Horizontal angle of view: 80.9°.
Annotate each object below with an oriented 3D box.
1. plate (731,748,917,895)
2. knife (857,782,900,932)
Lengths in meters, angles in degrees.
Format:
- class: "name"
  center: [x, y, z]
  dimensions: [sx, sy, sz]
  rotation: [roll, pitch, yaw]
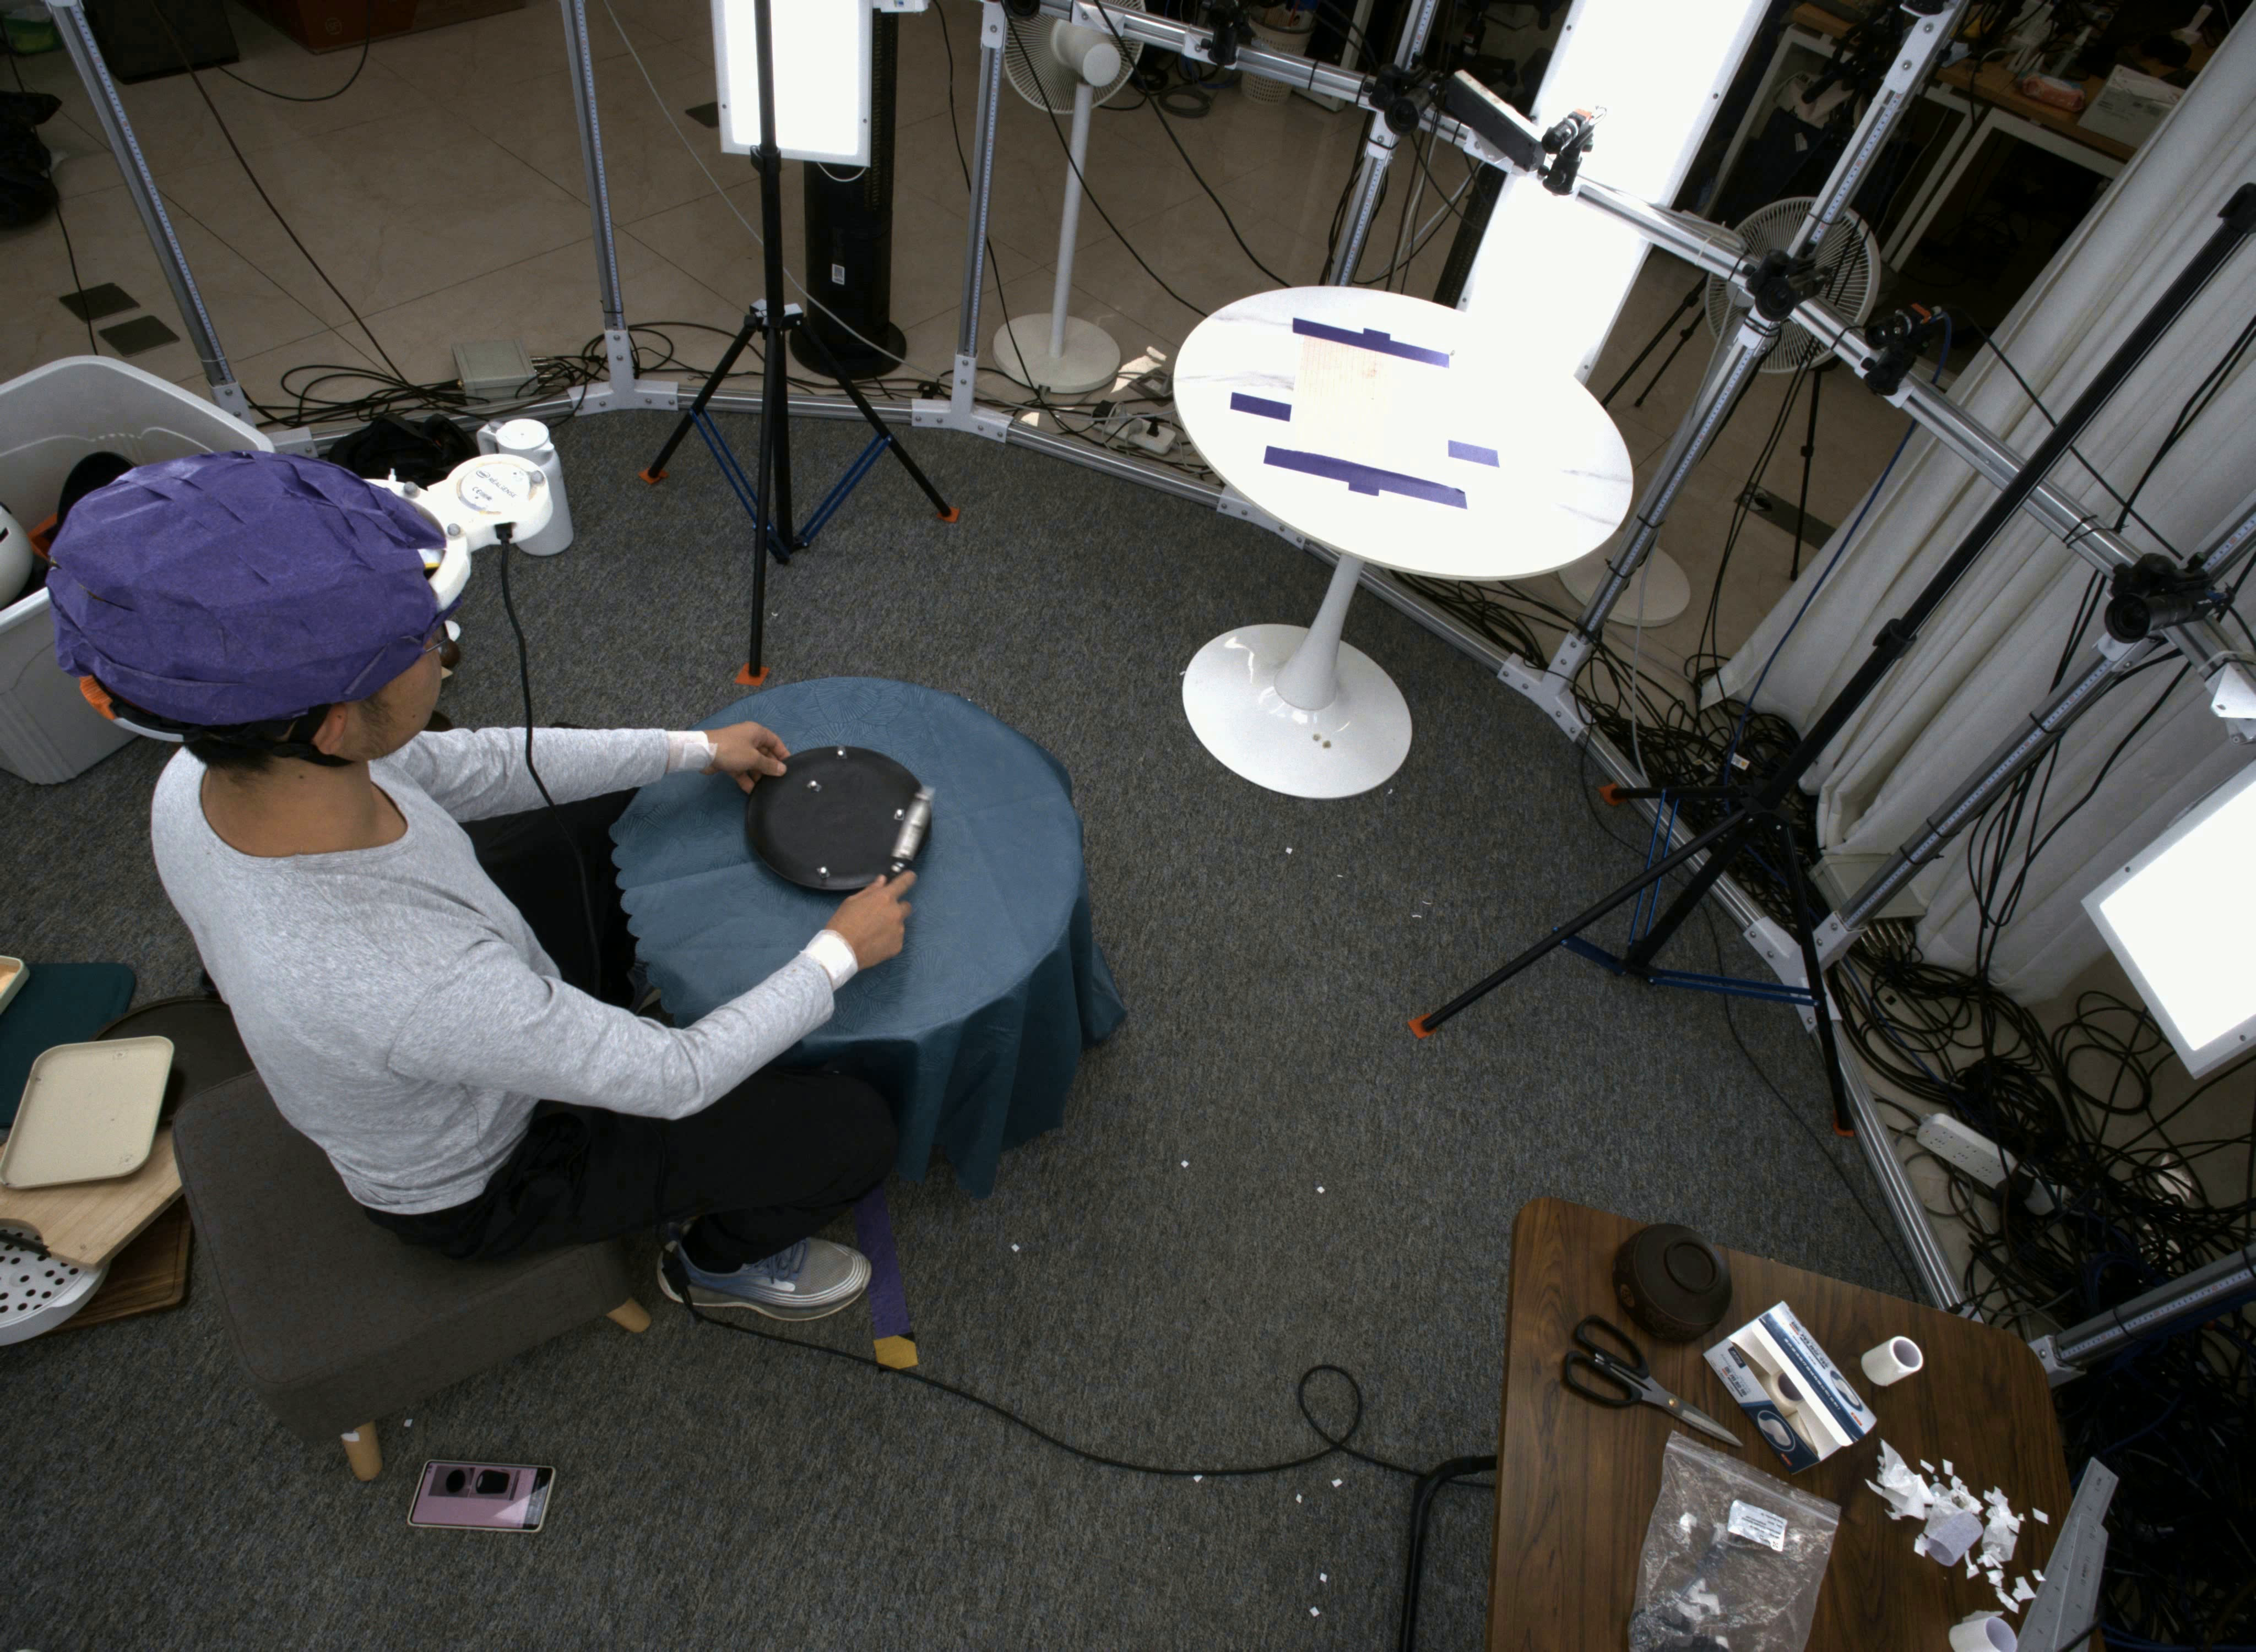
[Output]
- class: "plate"
  center: [-0.404, -0.006, 1.730]
  dimensions: [0.244, 0.024, 0.240]
  rotation: [8, 53, -9]
- class: "knife"
  center: [-0.314, 0.033, 1.662]
  dimensions: [0.024, 0.017, 0.234]
  rotation: [4, 53, 1]
